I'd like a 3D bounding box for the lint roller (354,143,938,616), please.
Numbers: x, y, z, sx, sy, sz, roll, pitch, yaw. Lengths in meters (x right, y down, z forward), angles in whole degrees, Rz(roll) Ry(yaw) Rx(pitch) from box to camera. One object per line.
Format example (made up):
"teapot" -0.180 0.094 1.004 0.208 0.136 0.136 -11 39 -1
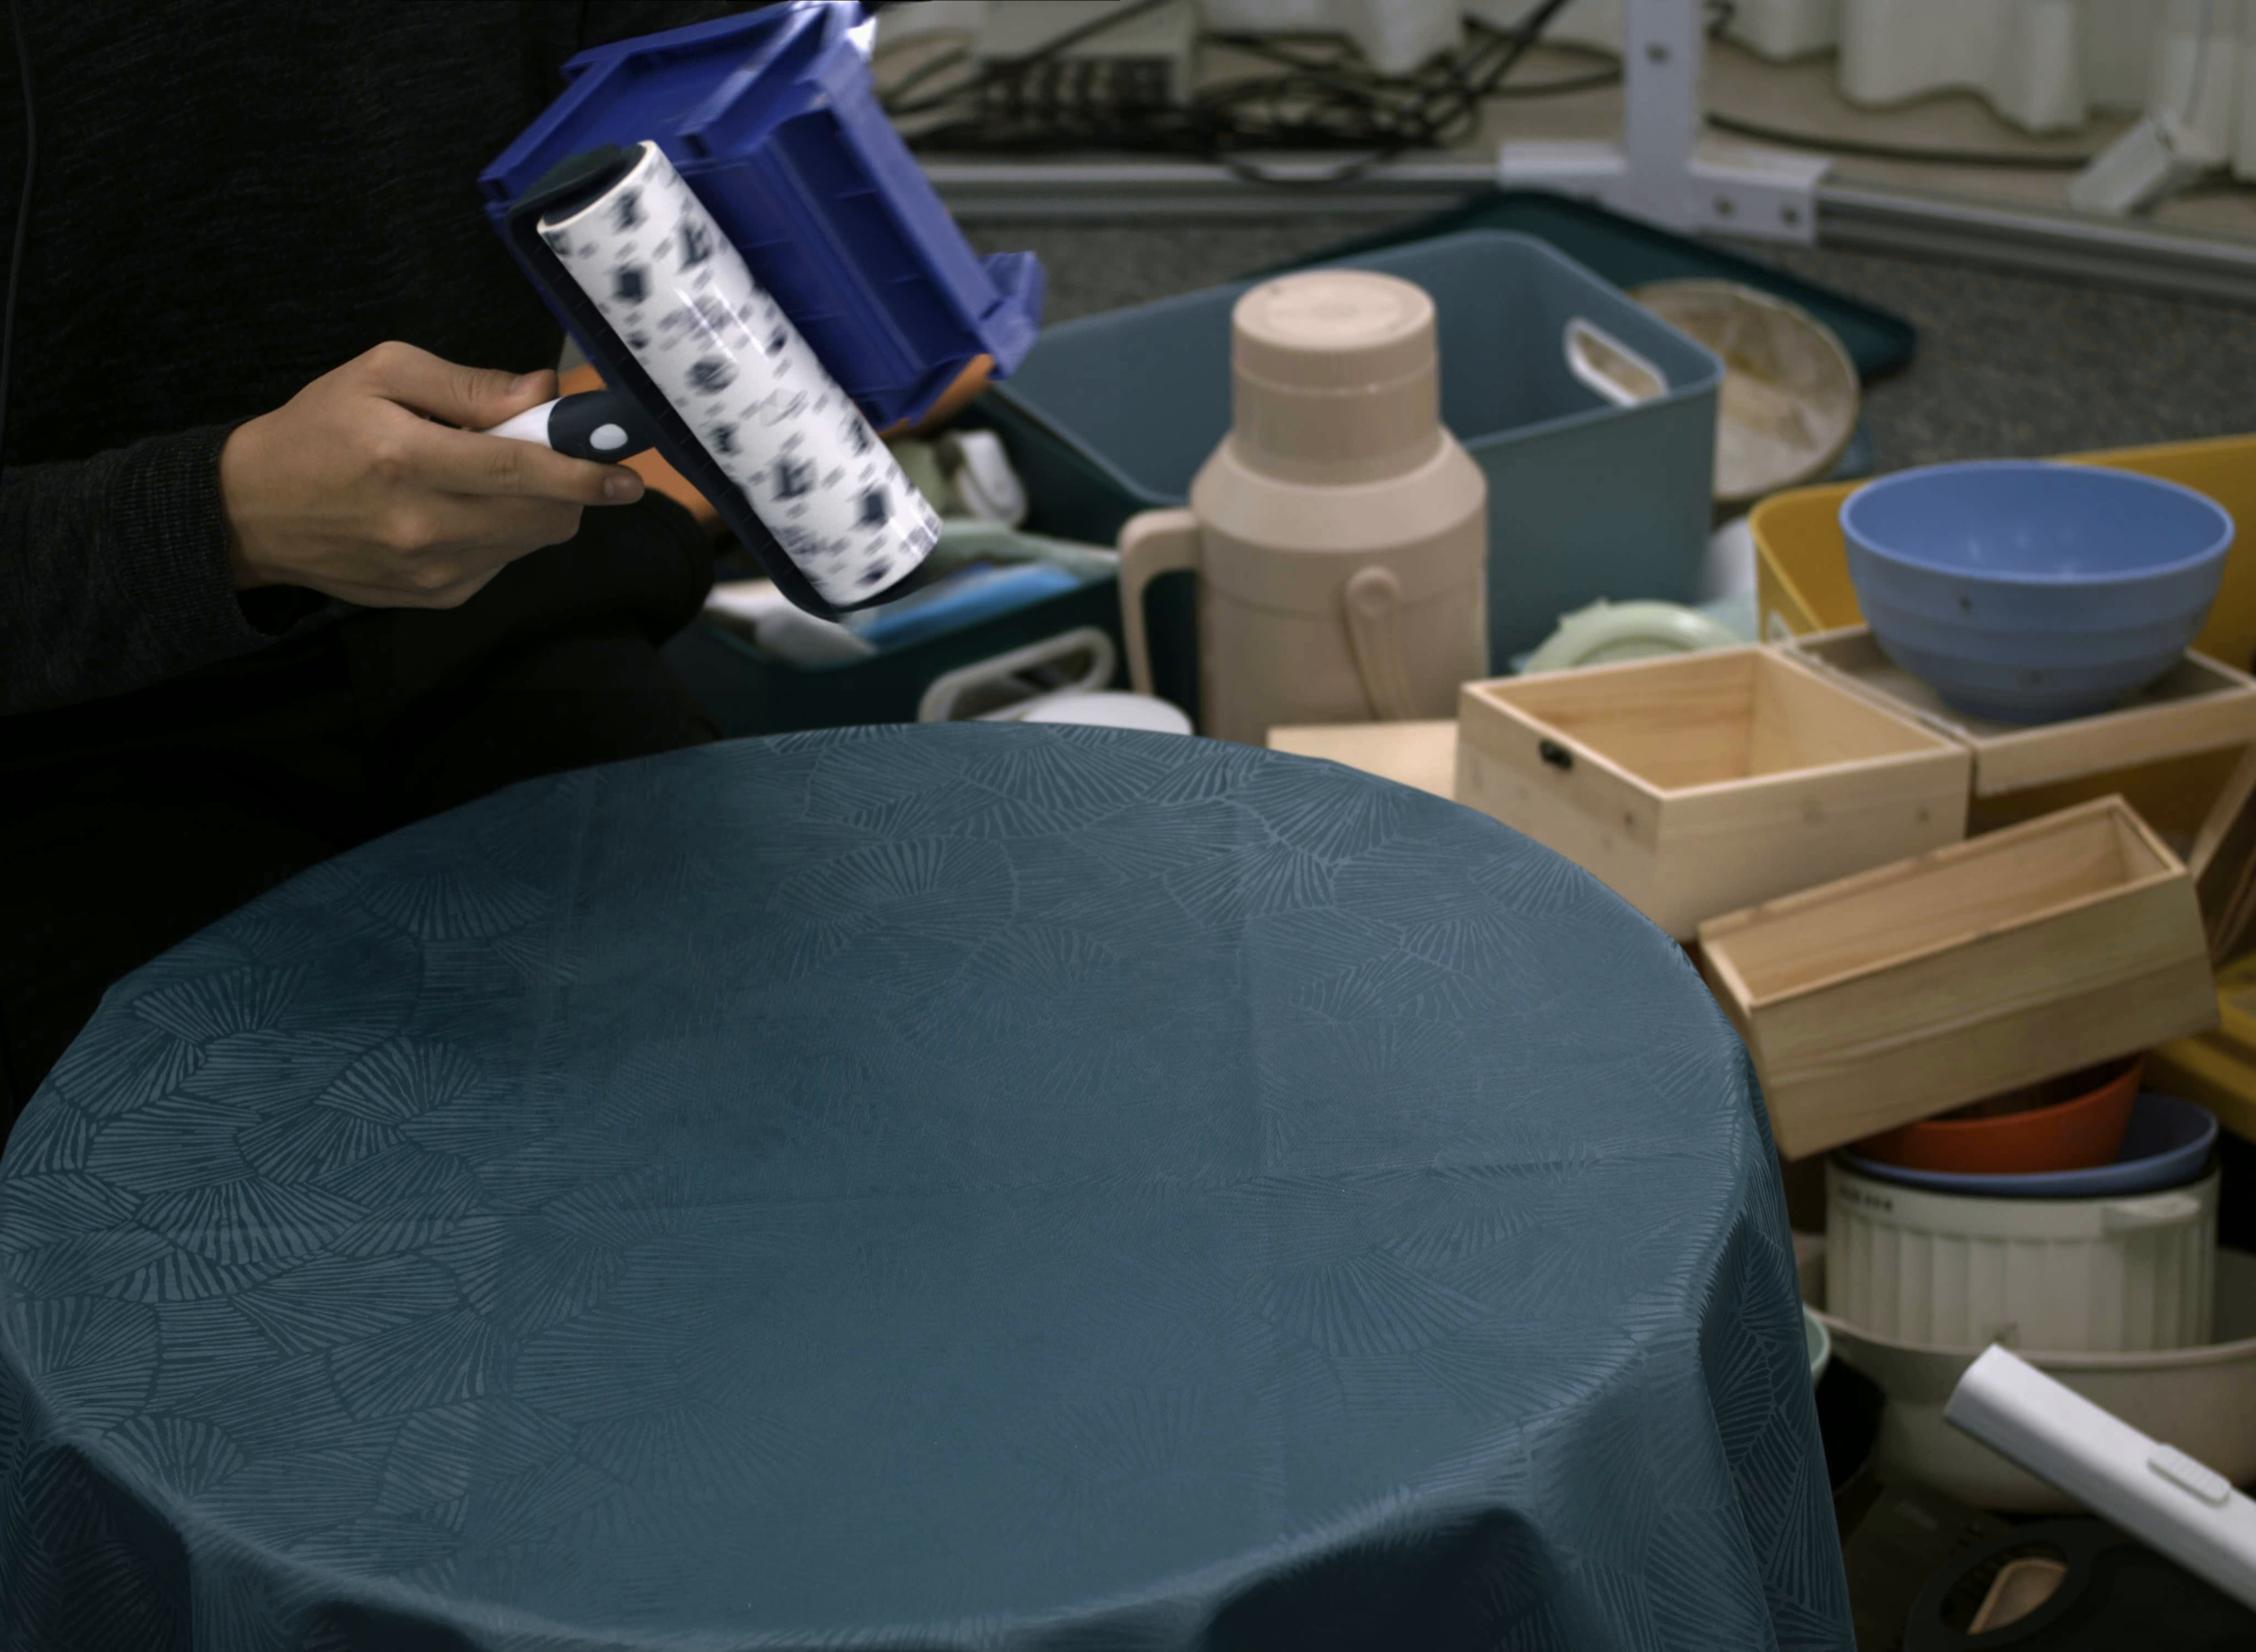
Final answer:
"lint roller" -0.190 -0.126 1.903 0.243 0.175 0.051 -17 28 47

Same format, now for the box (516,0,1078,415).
"box" -0.105 -0.201 1.865 0.177 0.123 0.083 -8 33 45
